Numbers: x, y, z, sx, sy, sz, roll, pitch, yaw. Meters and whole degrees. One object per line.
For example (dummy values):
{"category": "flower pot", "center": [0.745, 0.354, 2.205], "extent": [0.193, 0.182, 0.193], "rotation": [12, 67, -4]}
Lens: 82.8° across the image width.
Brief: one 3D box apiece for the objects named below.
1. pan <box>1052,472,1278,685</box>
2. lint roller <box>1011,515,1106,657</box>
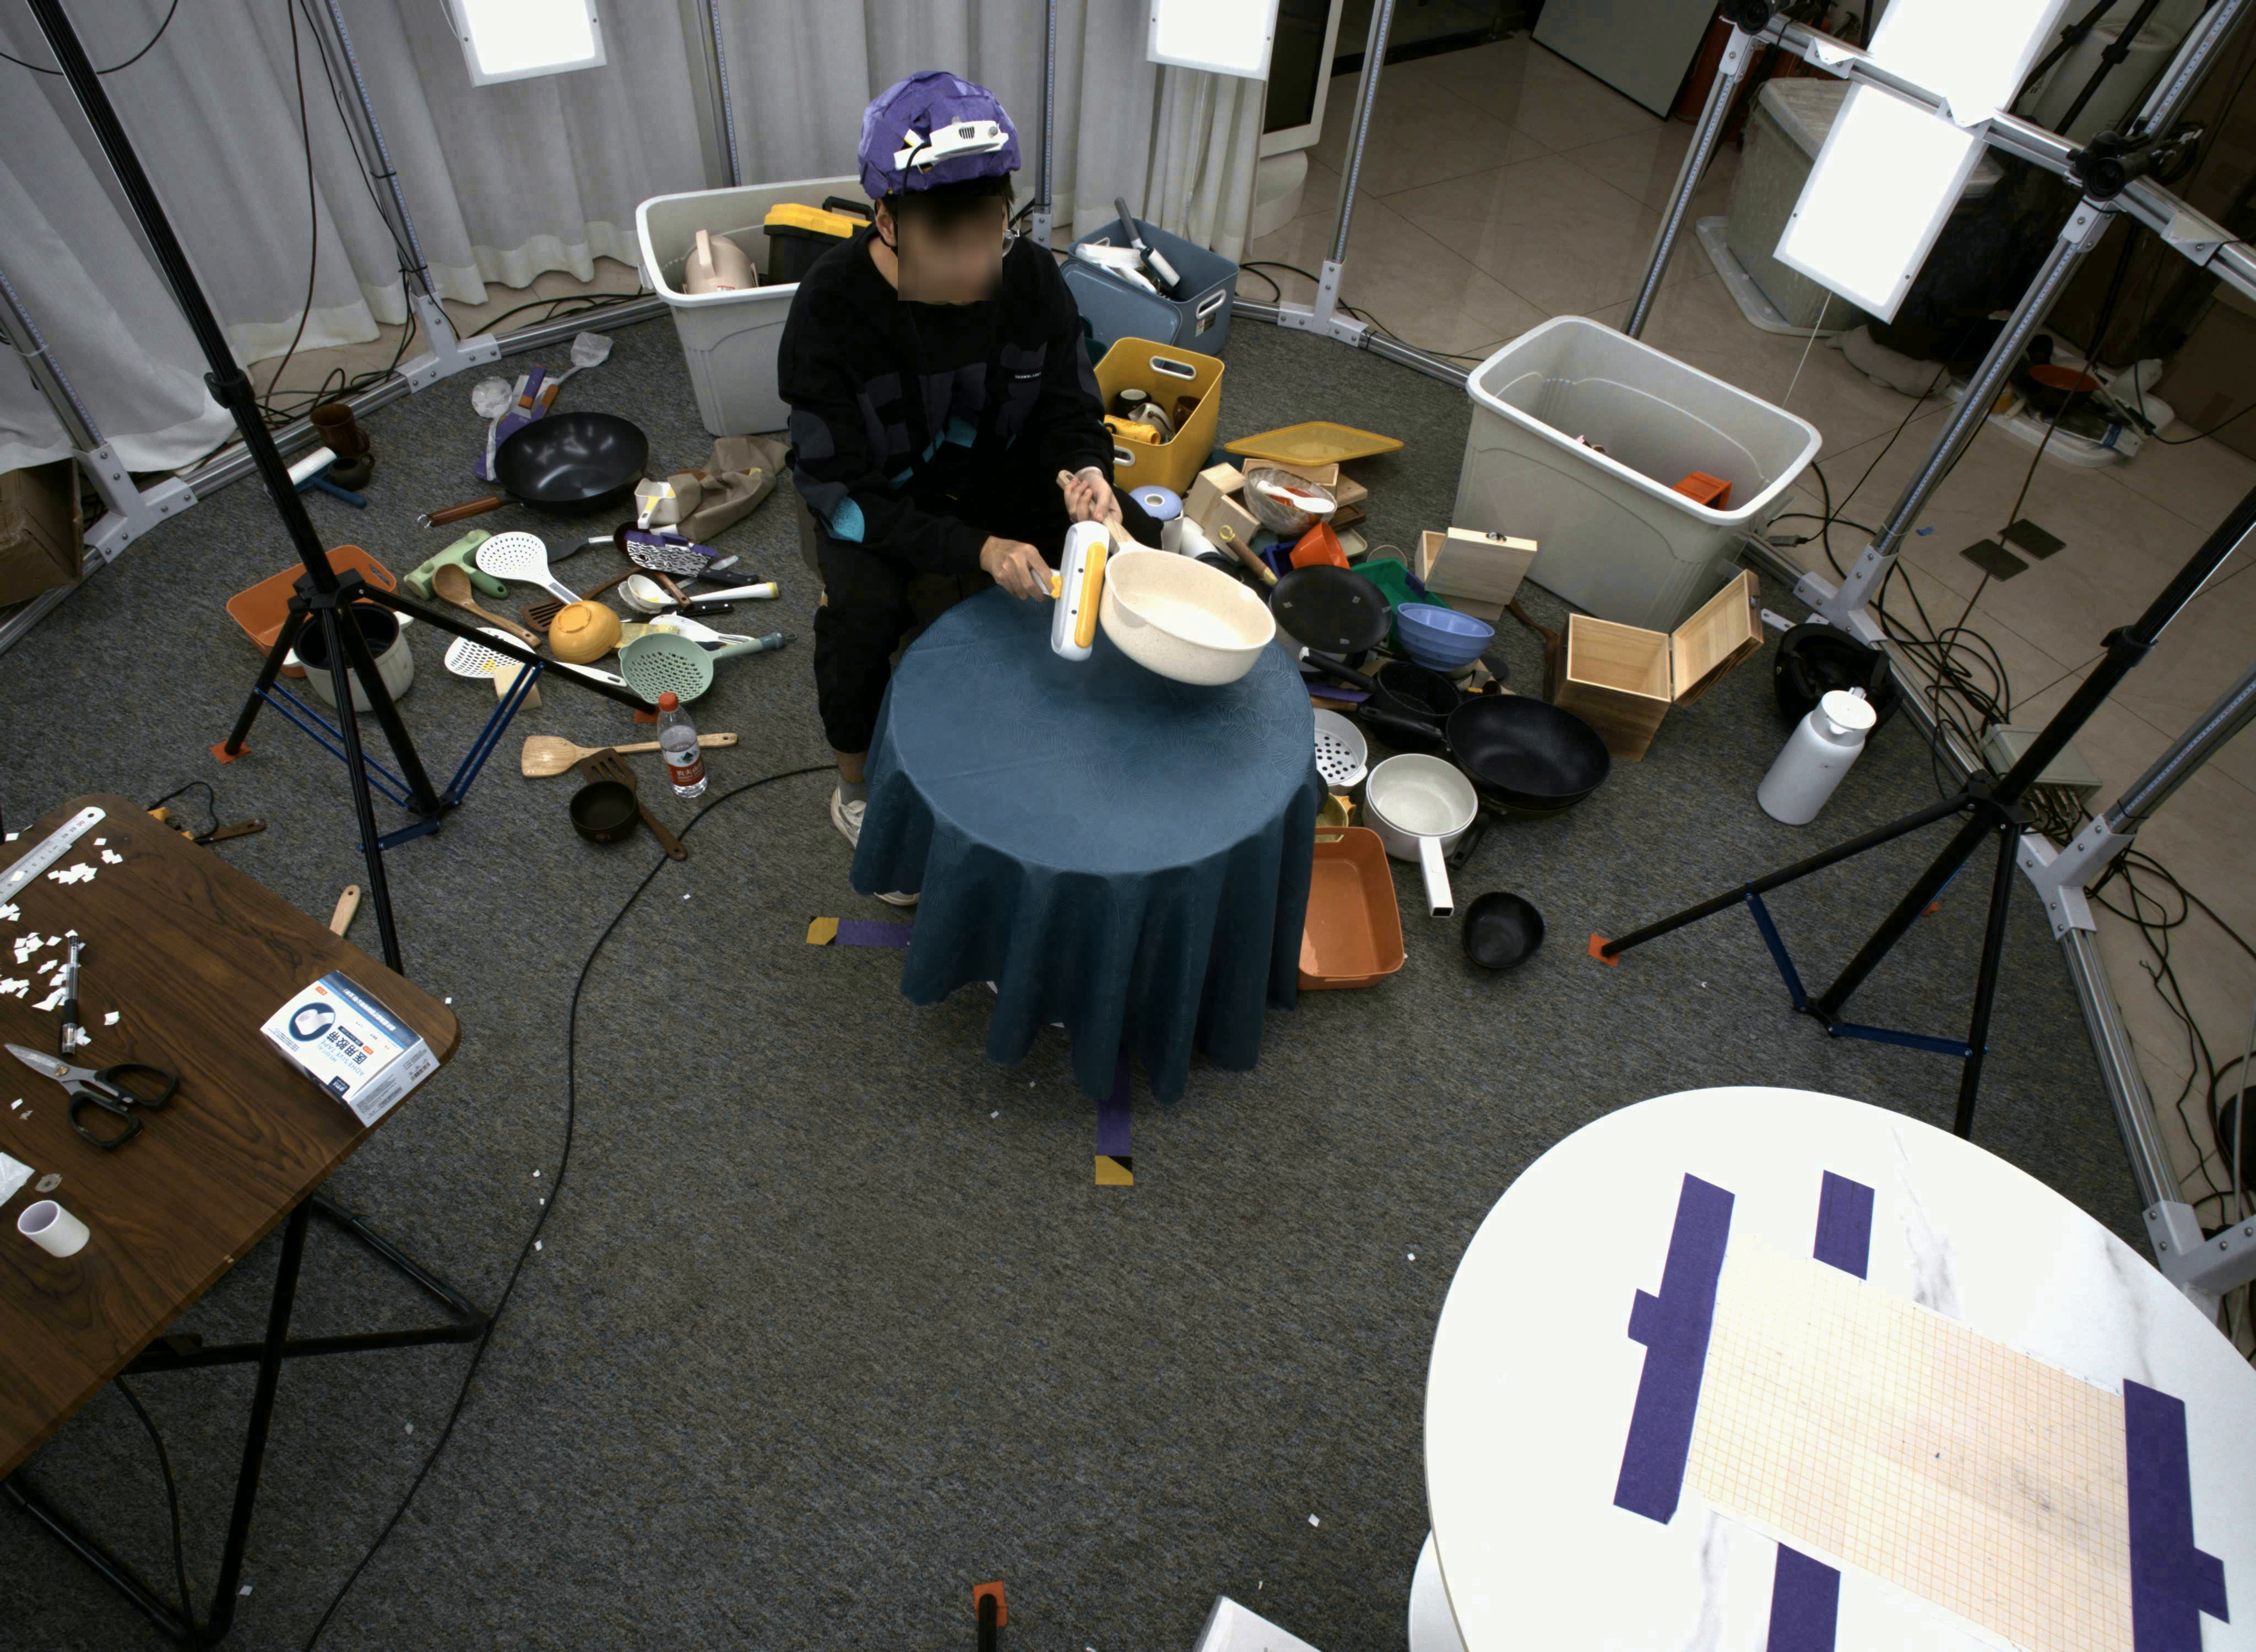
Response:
{"category": "pan", "center": [0.022, -0.351, 1.836], "extent": [0.264, 0.100, 0.442], "rotation": [-17, 51, -40]}
{"category": "lint roller", "center": [-0.101, -0.346, 1.830], "extent": [0.074, 0.191, 0.195], "rotation": [-4, 16, -29]}
